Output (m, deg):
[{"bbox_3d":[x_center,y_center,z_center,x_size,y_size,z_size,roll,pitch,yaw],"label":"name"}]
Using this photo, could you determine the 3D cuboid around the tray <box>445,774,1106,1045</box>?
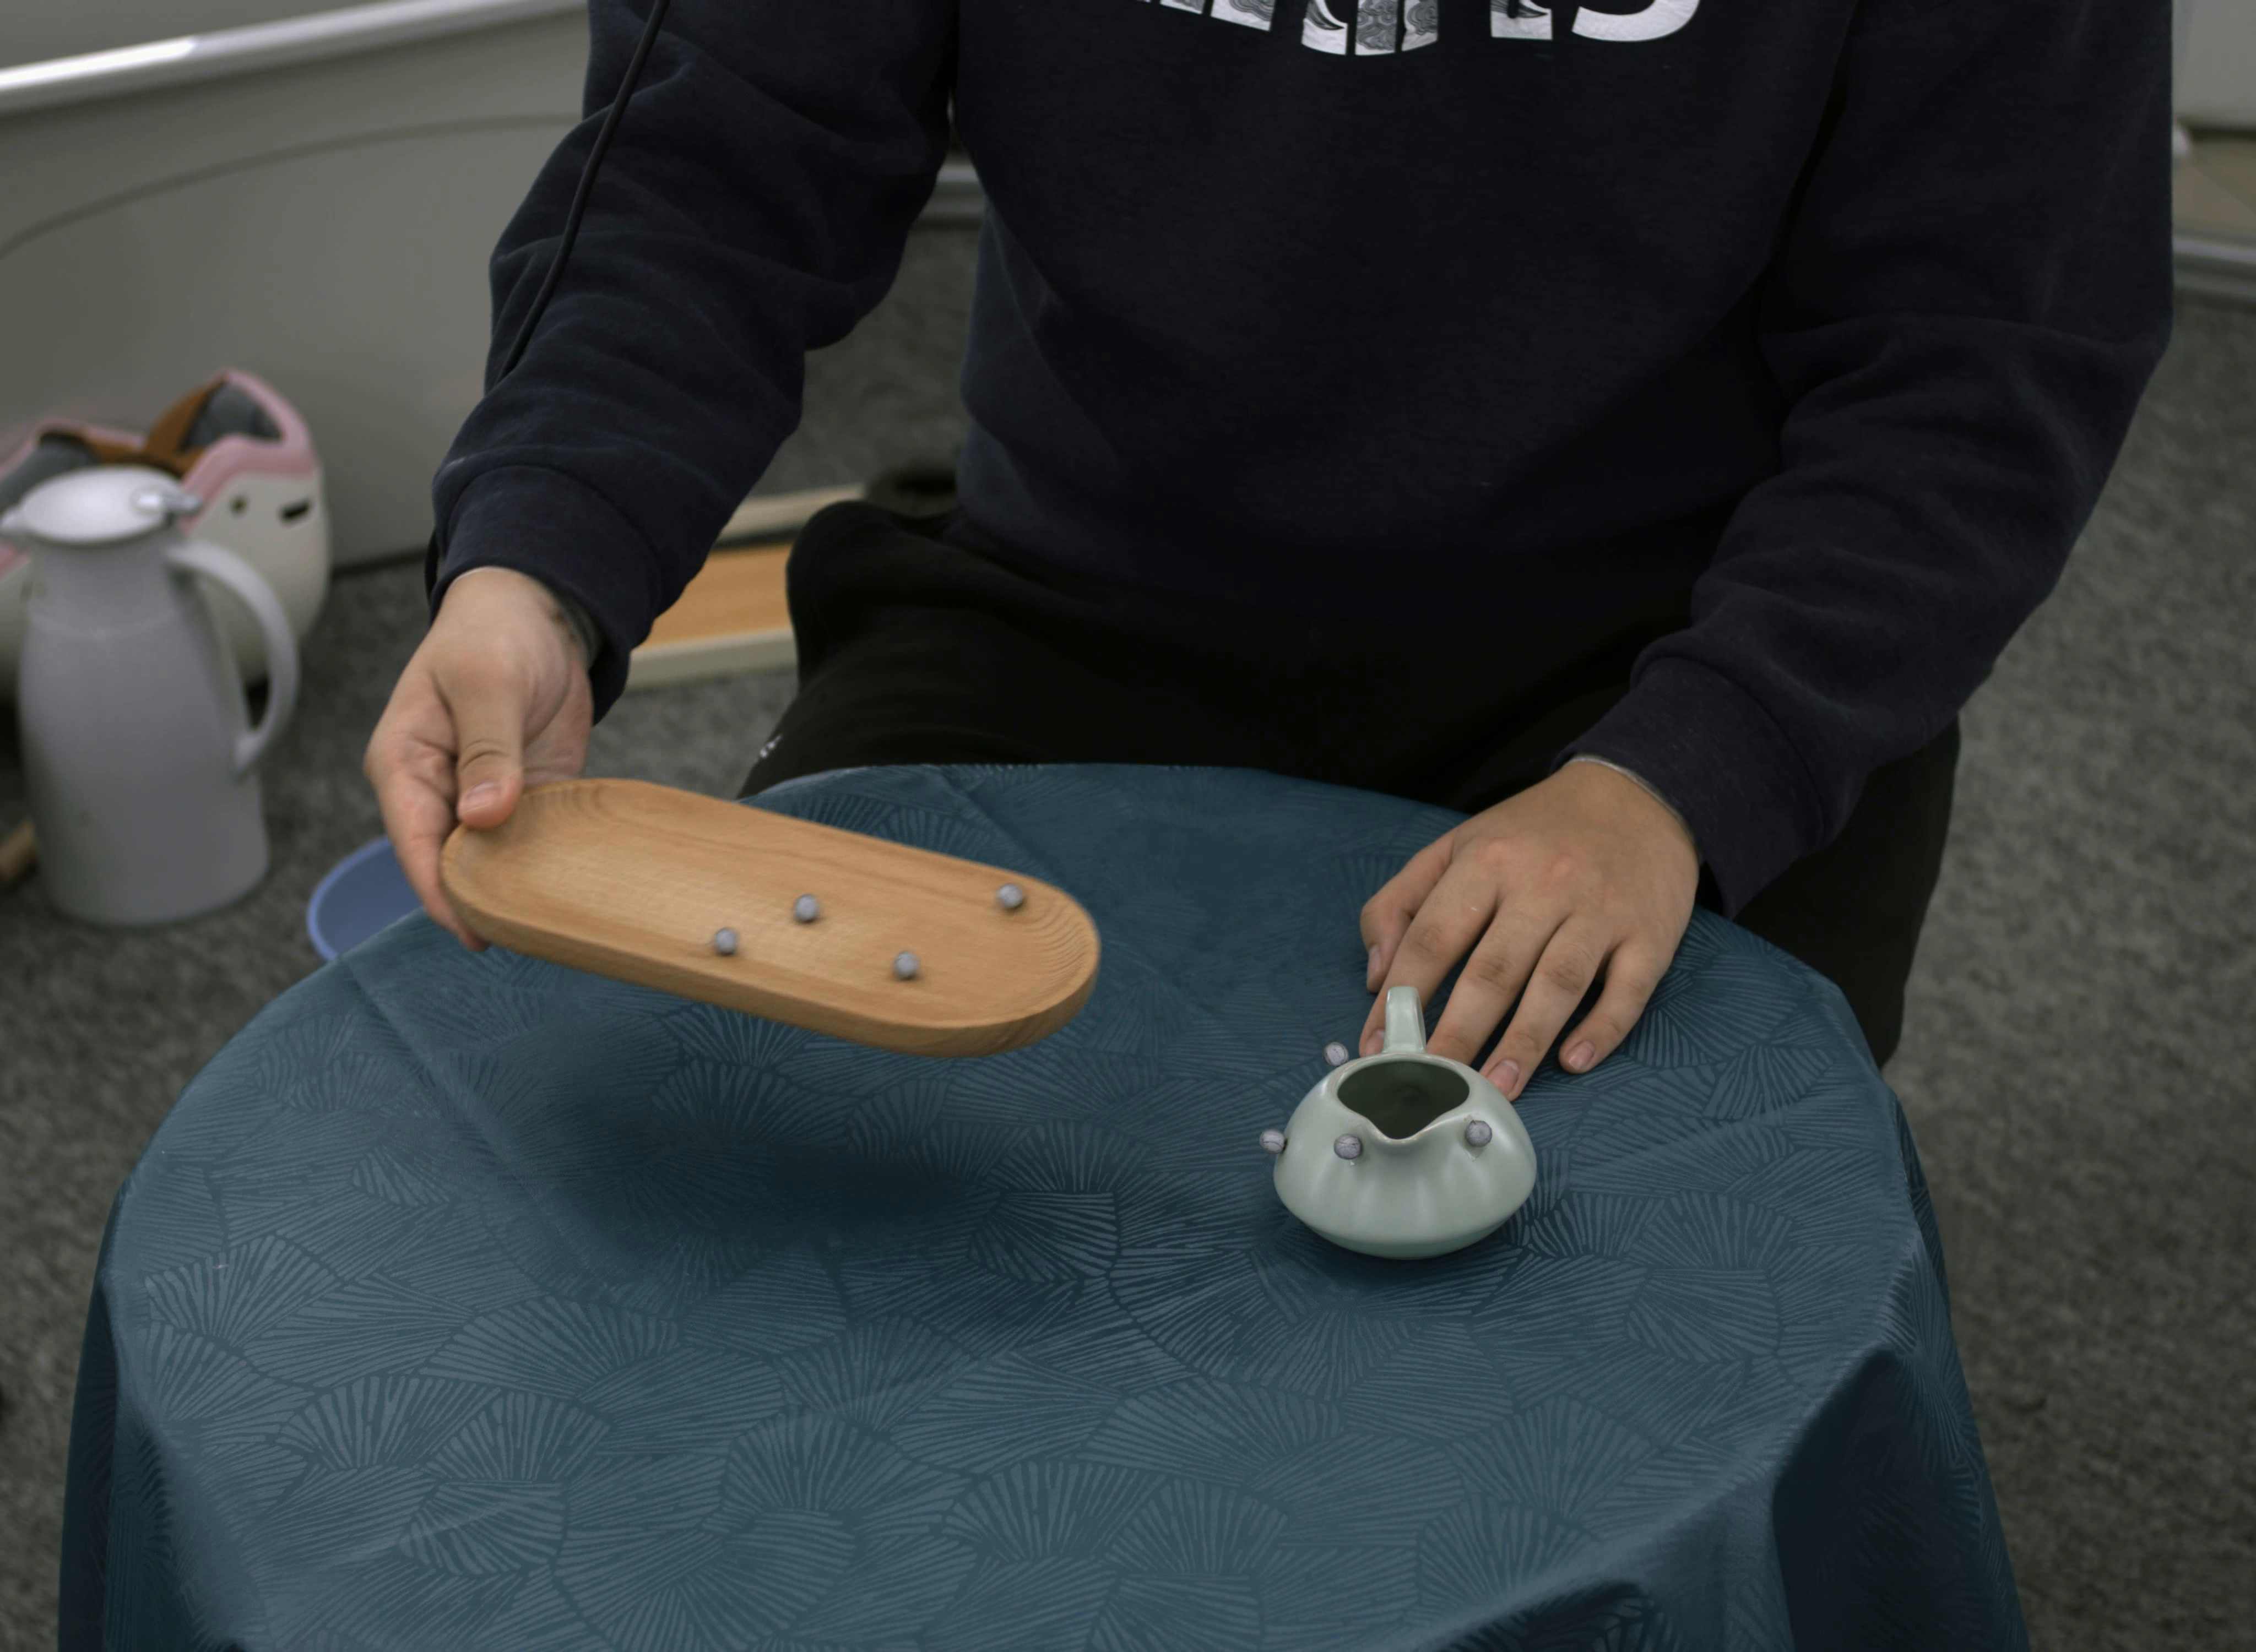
[{"bbox_3d":[-0.117,0.027,1.852,0.230,0.020,0.103,12,30,20],"label":"tray"}]

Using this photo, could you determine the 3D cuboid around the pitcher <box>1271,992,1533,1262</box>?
[{"bbox_3d":[0.089,0.100,1.839,0.085,0.060,0.109,-1,25,2],"label":"pitcher"}]
